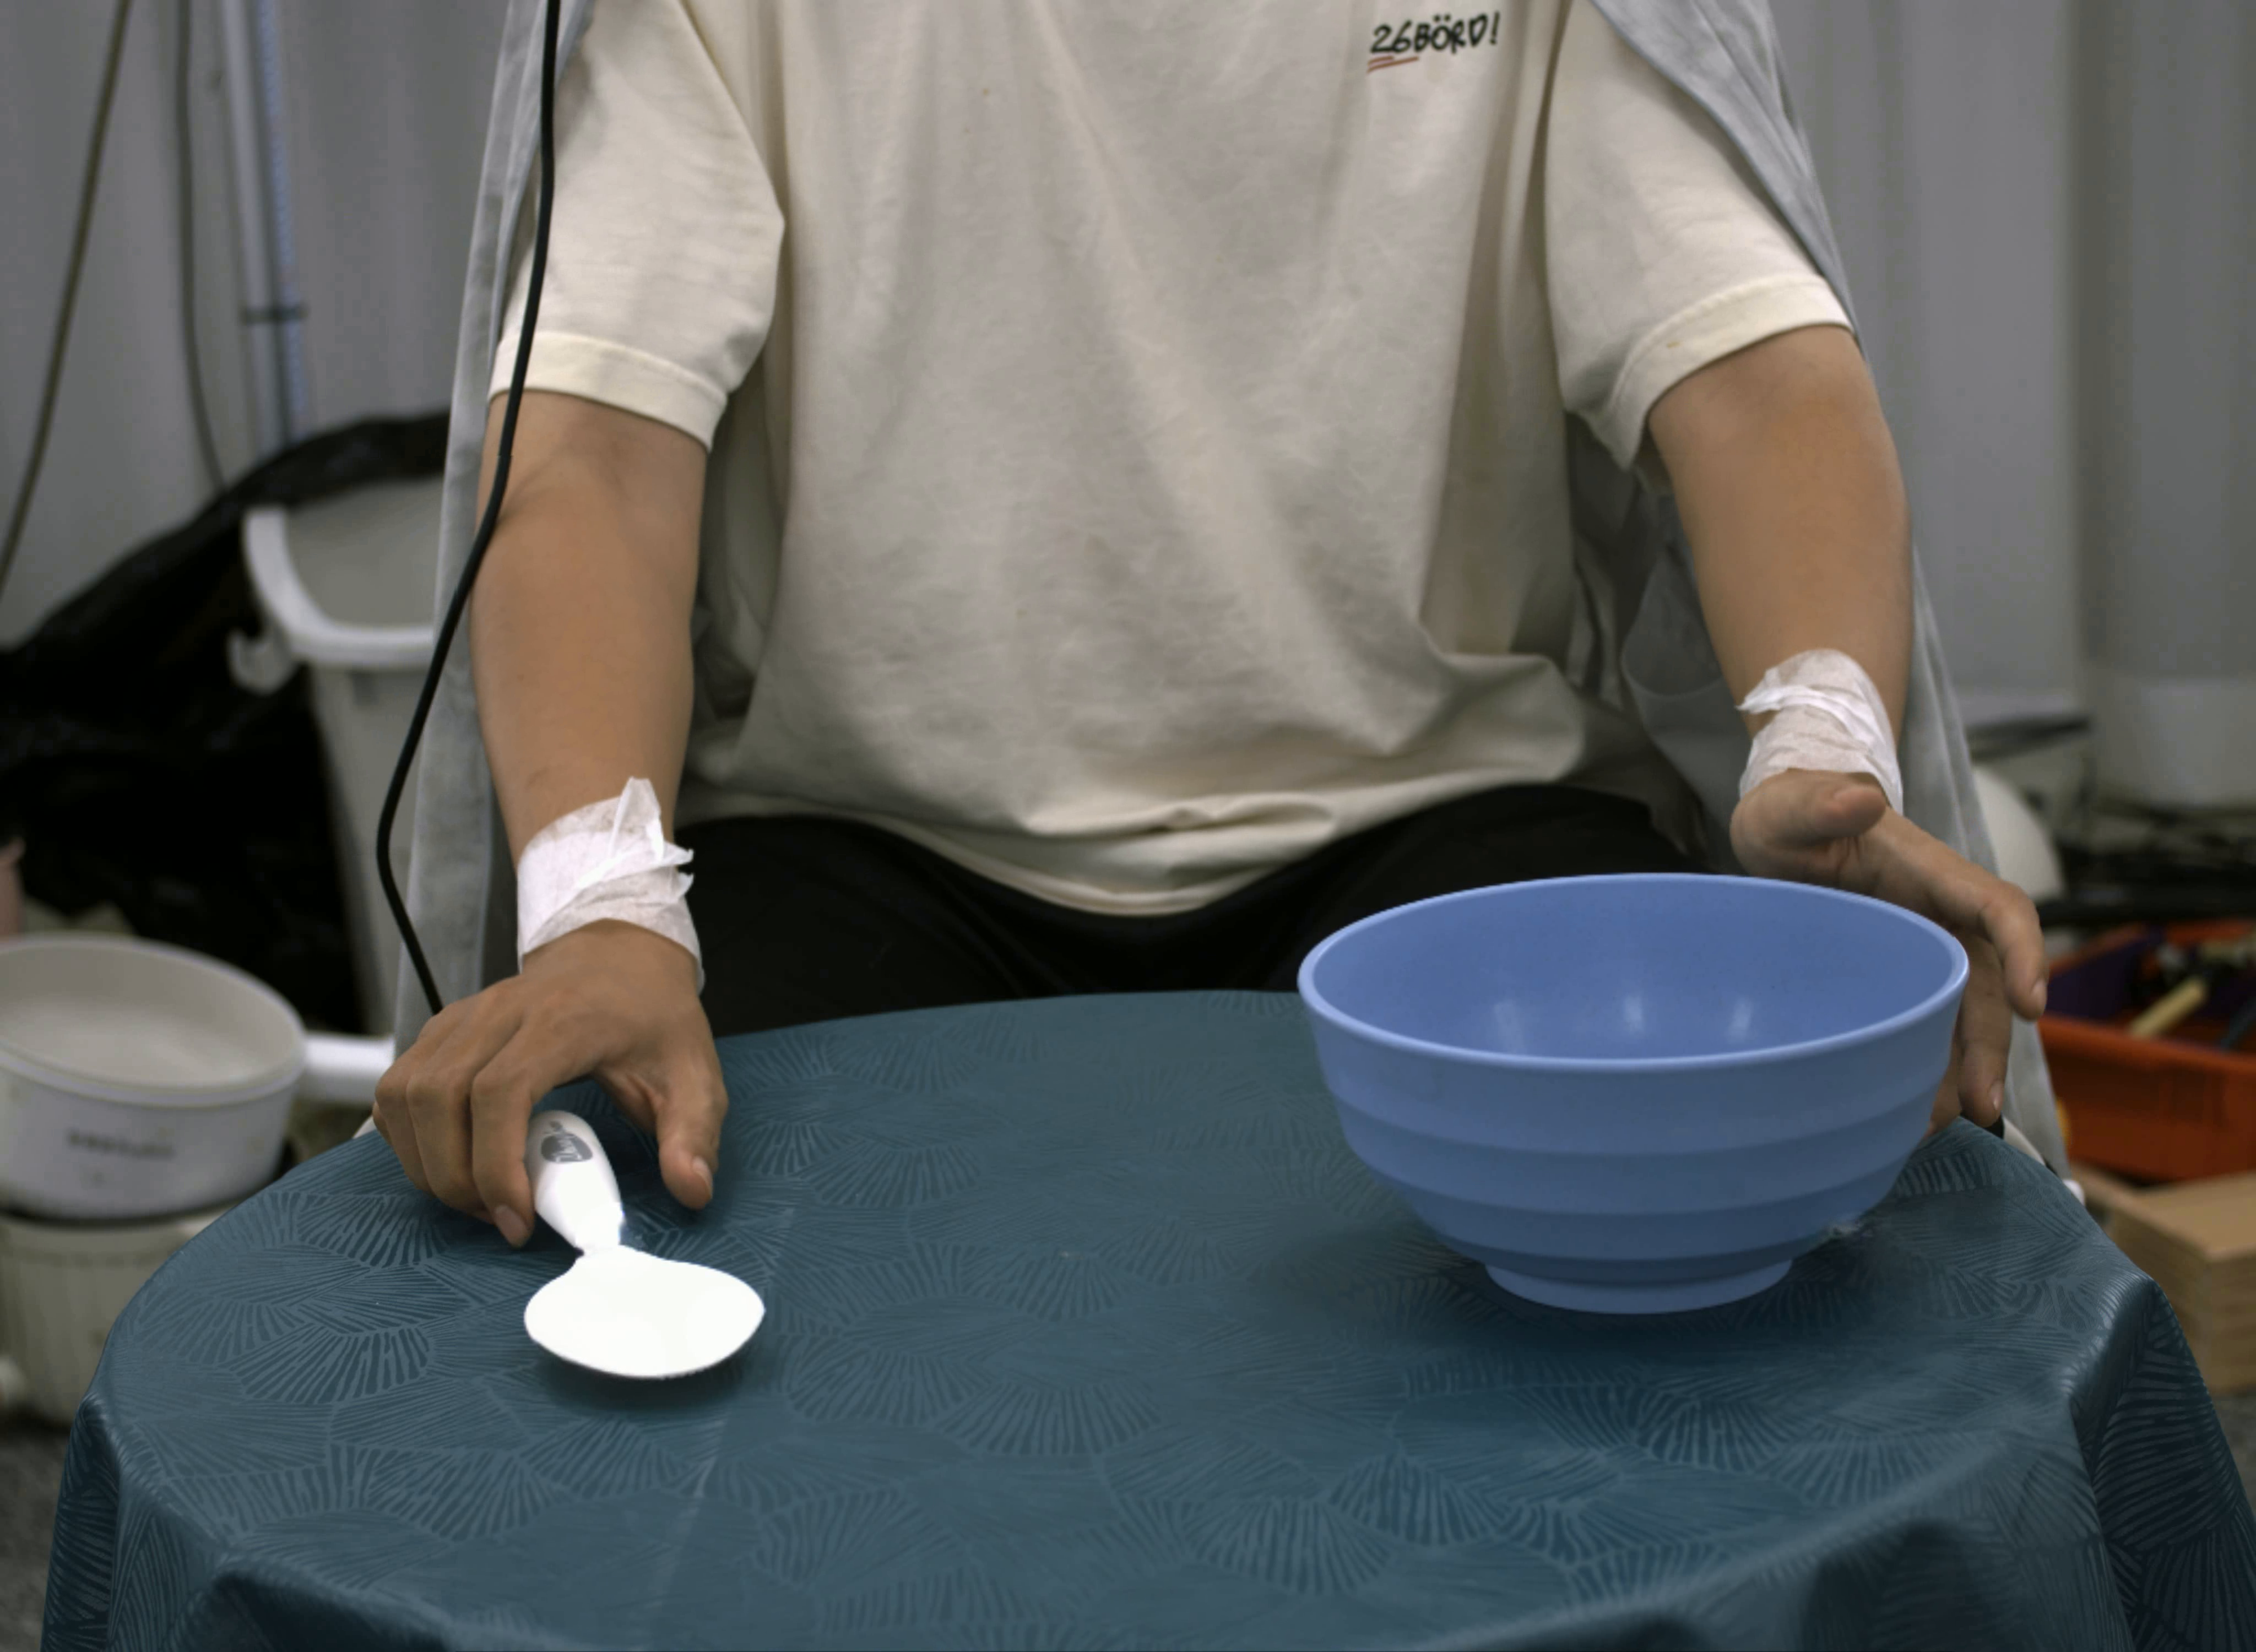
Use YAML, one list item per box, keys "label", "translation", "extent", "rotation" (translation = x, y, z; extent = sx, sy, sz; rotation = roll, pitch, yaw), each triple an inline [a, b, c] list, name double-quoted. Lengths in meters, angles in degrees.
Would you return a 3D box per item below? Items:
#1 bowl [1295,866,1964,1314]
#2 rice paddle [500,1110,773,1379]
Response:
- label: "bowl"
  translation: [0.149, 0.084, 1.619]
  extent: [0.196, 0.095, 0.198]
  rotation: [-4, 16, 1]
- label: "rice paddle"
  translation: [-0.154, 0.128, 1.641]
  extent: [0.068, 0.029, 0.207]
  rotation: [-9, 16, -15]
